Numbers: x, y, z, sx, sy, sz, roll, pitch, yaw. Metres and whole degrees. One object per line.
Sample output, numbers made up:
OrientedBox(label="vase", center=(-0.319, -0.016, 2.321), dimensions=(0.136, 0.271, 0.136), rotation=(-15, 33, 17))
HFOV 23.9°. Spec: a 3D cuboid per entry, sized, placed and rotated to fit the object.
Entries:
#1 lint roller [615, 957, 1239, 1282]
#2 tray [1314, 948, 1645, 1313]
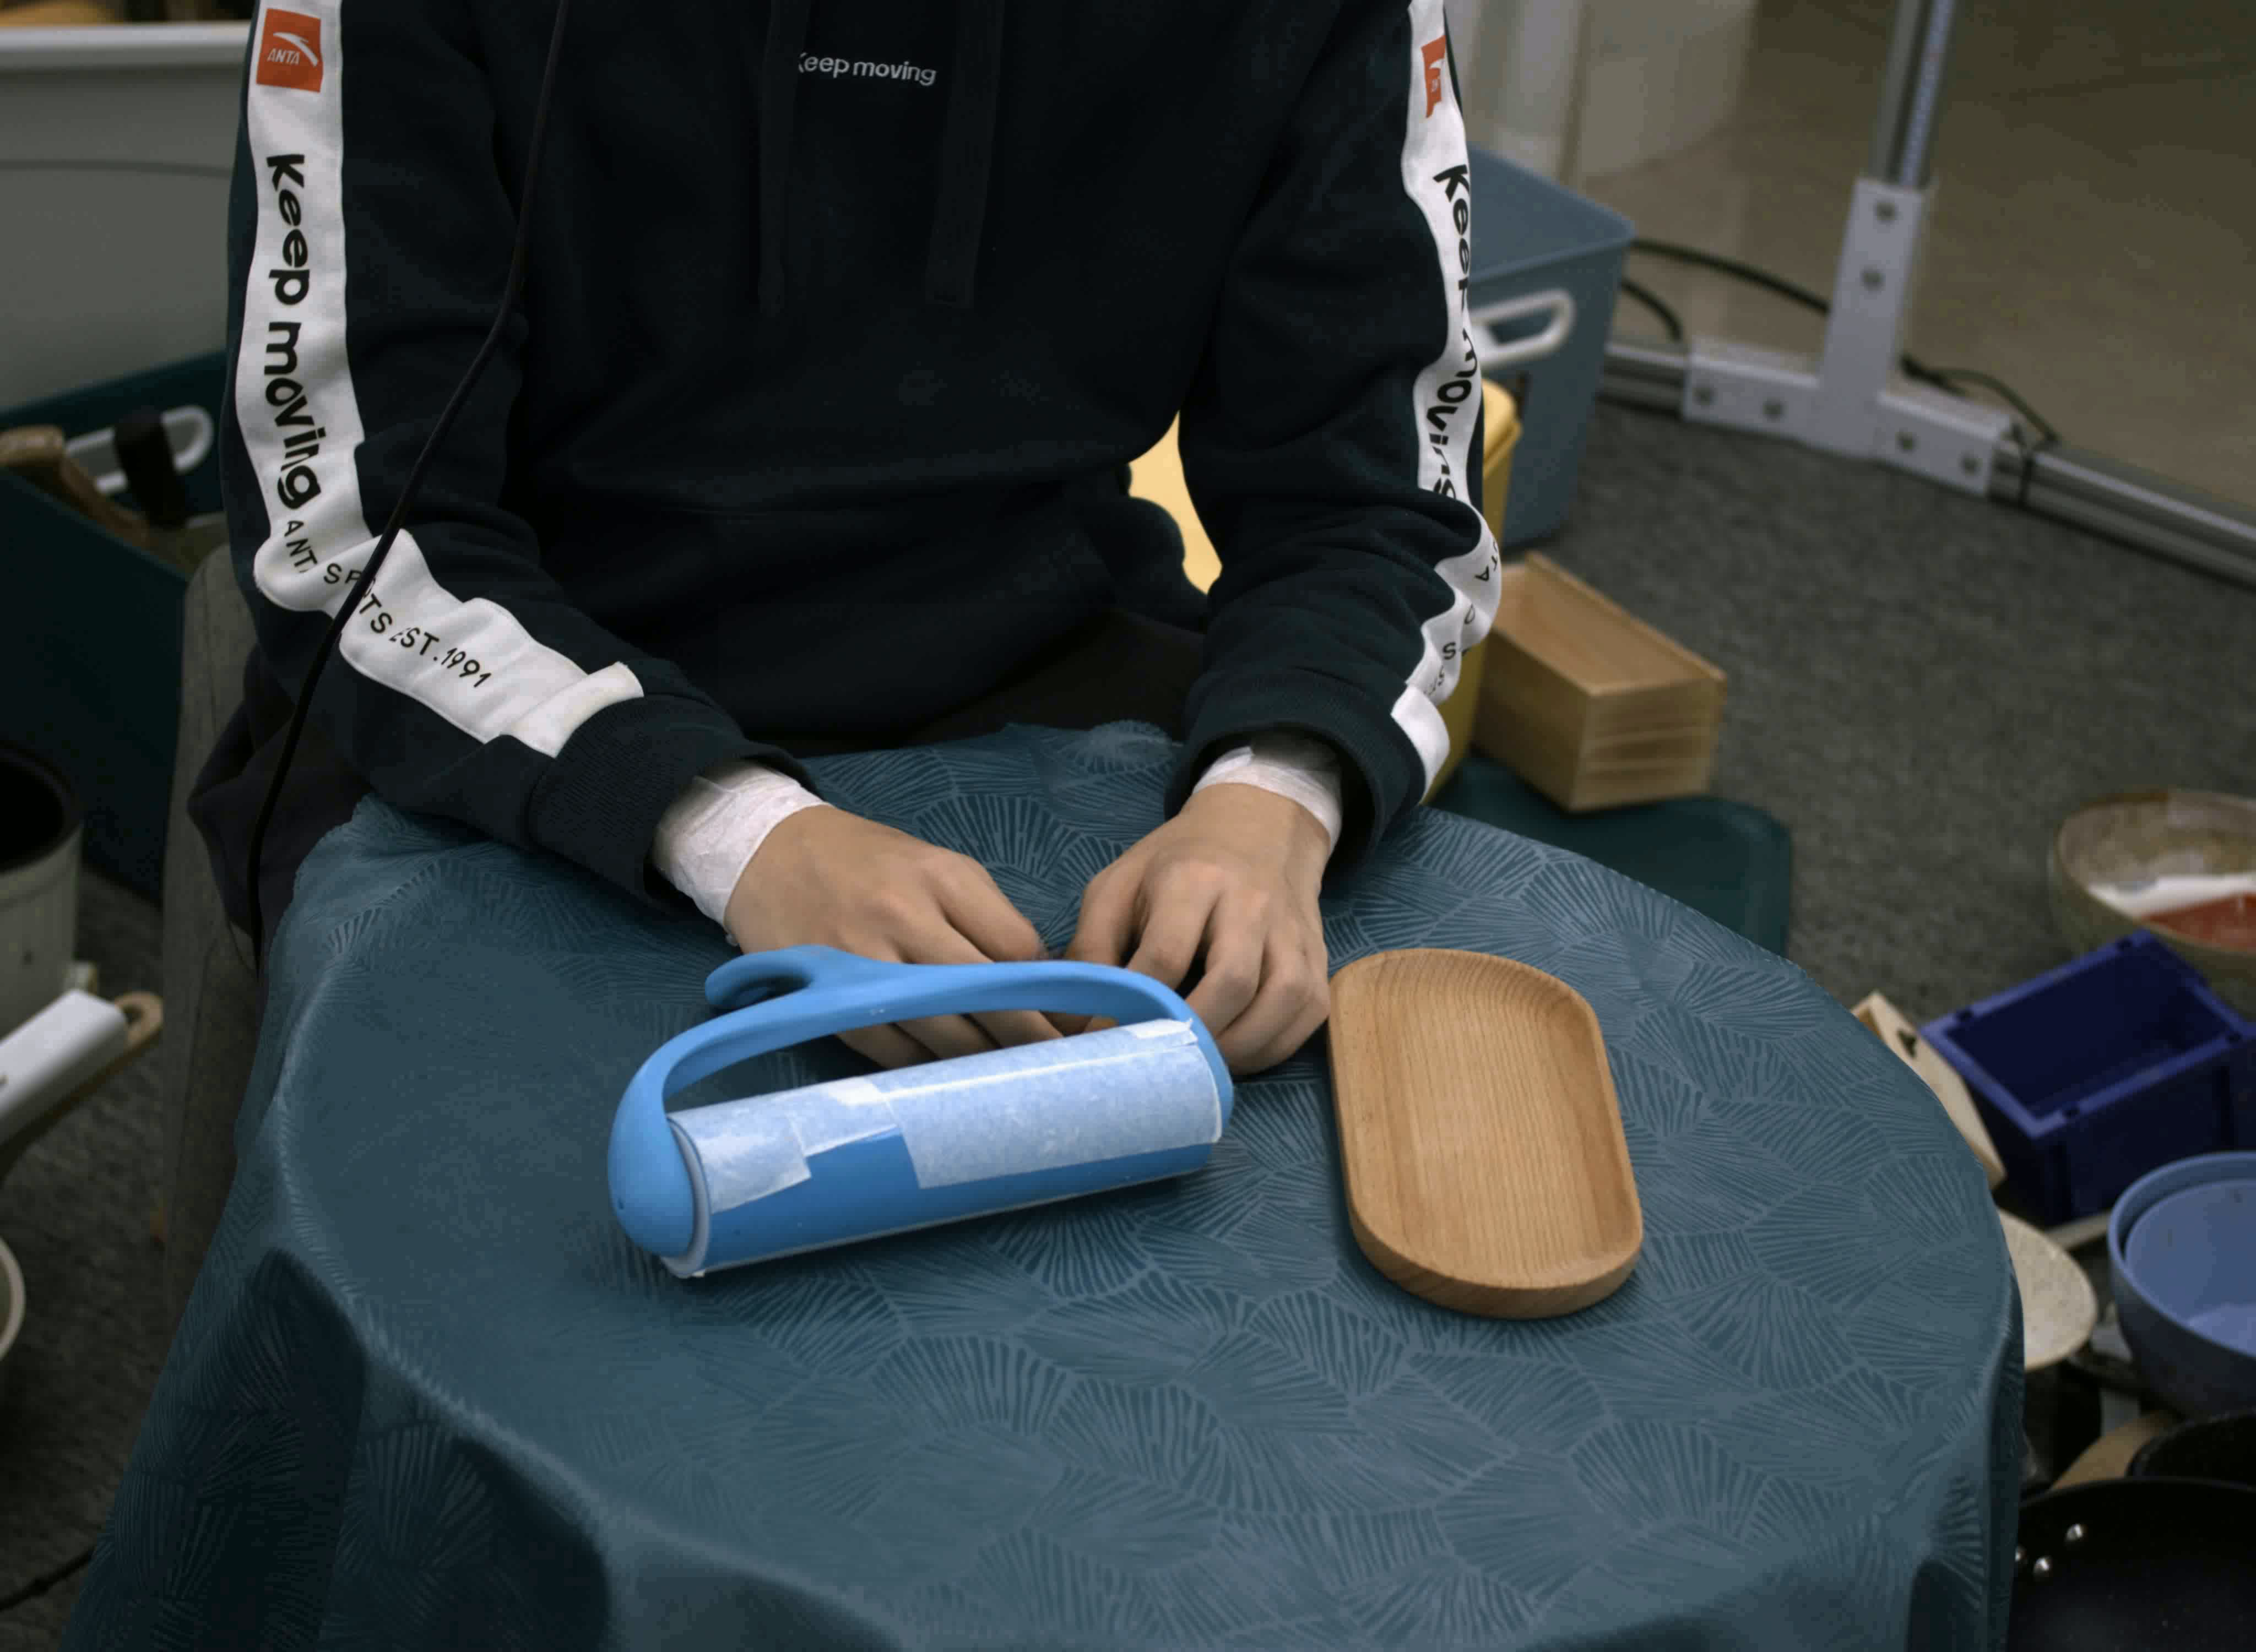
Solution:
OrientedBox(label="lint roller", center=(-0.095, 0.079, 1.803), dimensions=(0.227, 0.067, 0.182), rotation=(-12, 33, -30))
OrientedBox(label="tray", center=(0.120, 0.103, 1.848), dimensions=(0.101, 0.020, 0.232), rotation=(5, 25, -6))
